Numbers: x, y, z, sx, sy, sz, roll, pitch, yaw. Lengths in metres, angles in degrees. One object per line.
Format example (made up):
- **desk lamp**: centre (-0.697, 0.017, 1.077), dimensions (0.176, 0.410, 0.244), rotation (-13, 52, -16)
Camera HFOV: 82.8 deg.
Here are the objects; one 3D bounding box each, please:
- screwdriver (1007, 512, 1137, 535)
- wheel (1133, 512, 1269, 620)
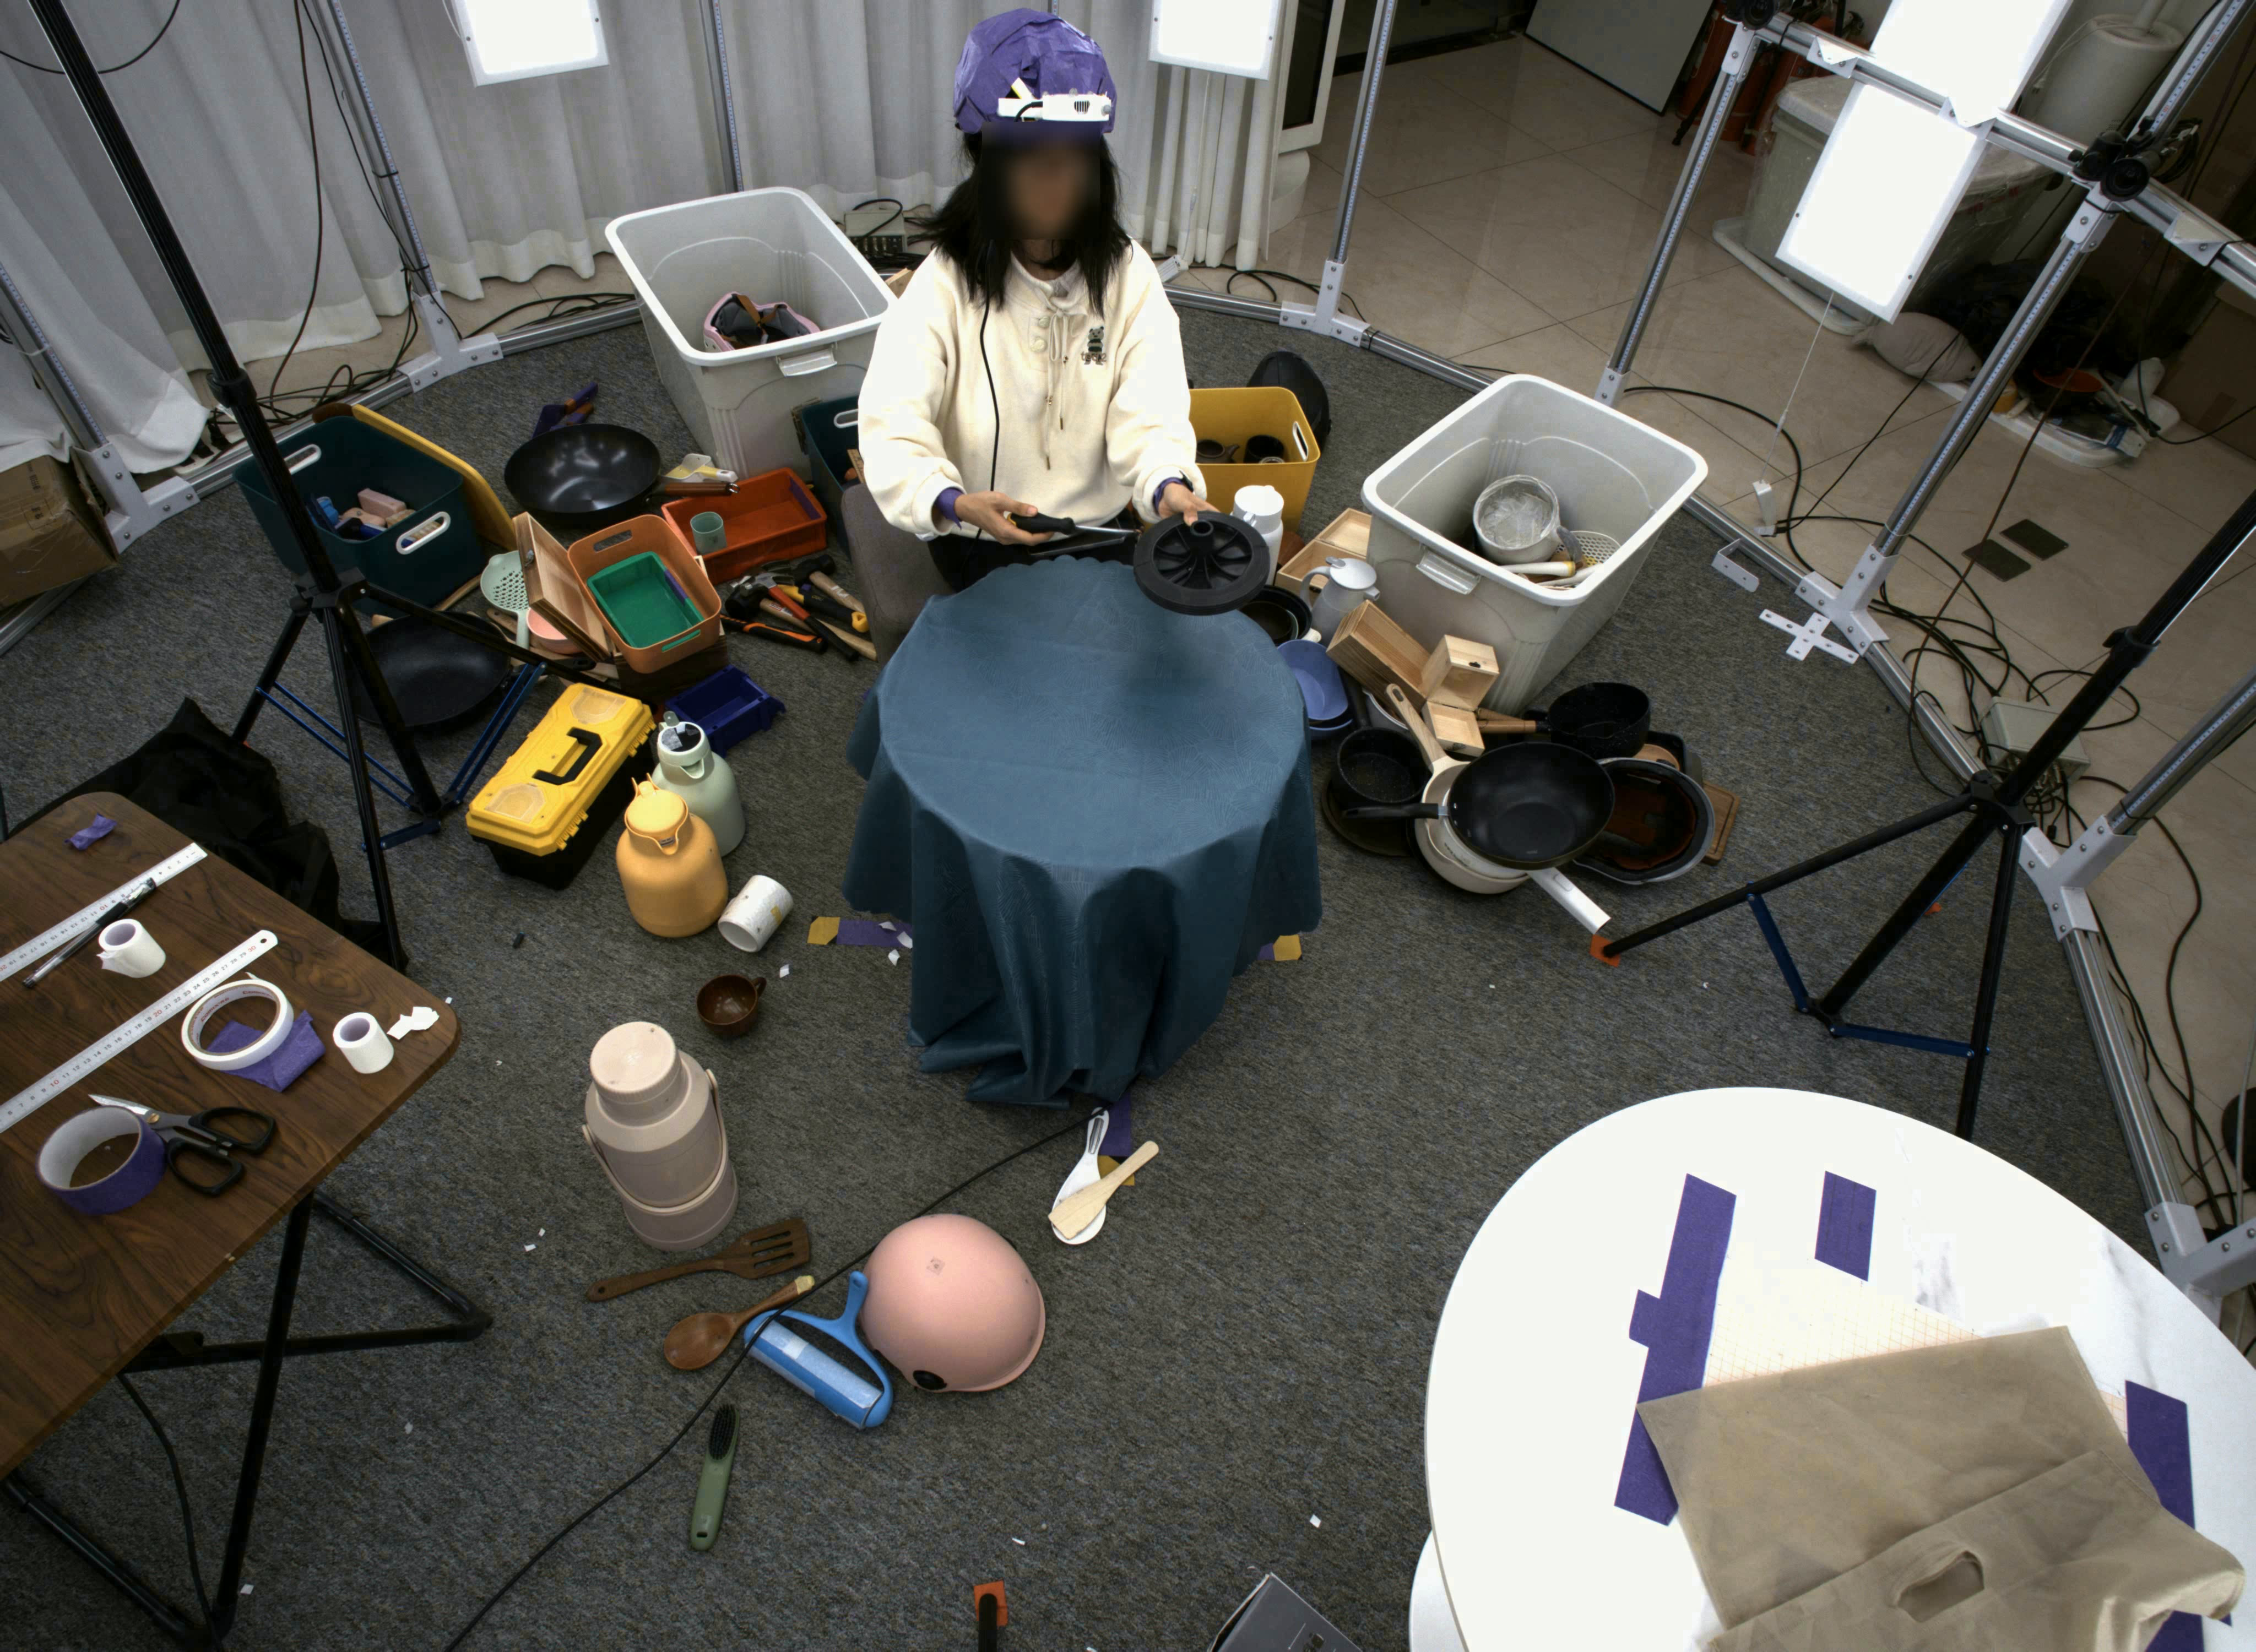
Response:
- **screwdriver**: centre (-0.078, -0.412, 1.786), dimensions (0.199, 0.031, 0.032), rotation (12, 49, 21)
- **wheel**: centre (0.099, -0.371, 1.753), dimensions (0.189, 0.077, 0.193), rotation (21, 59, 17)
